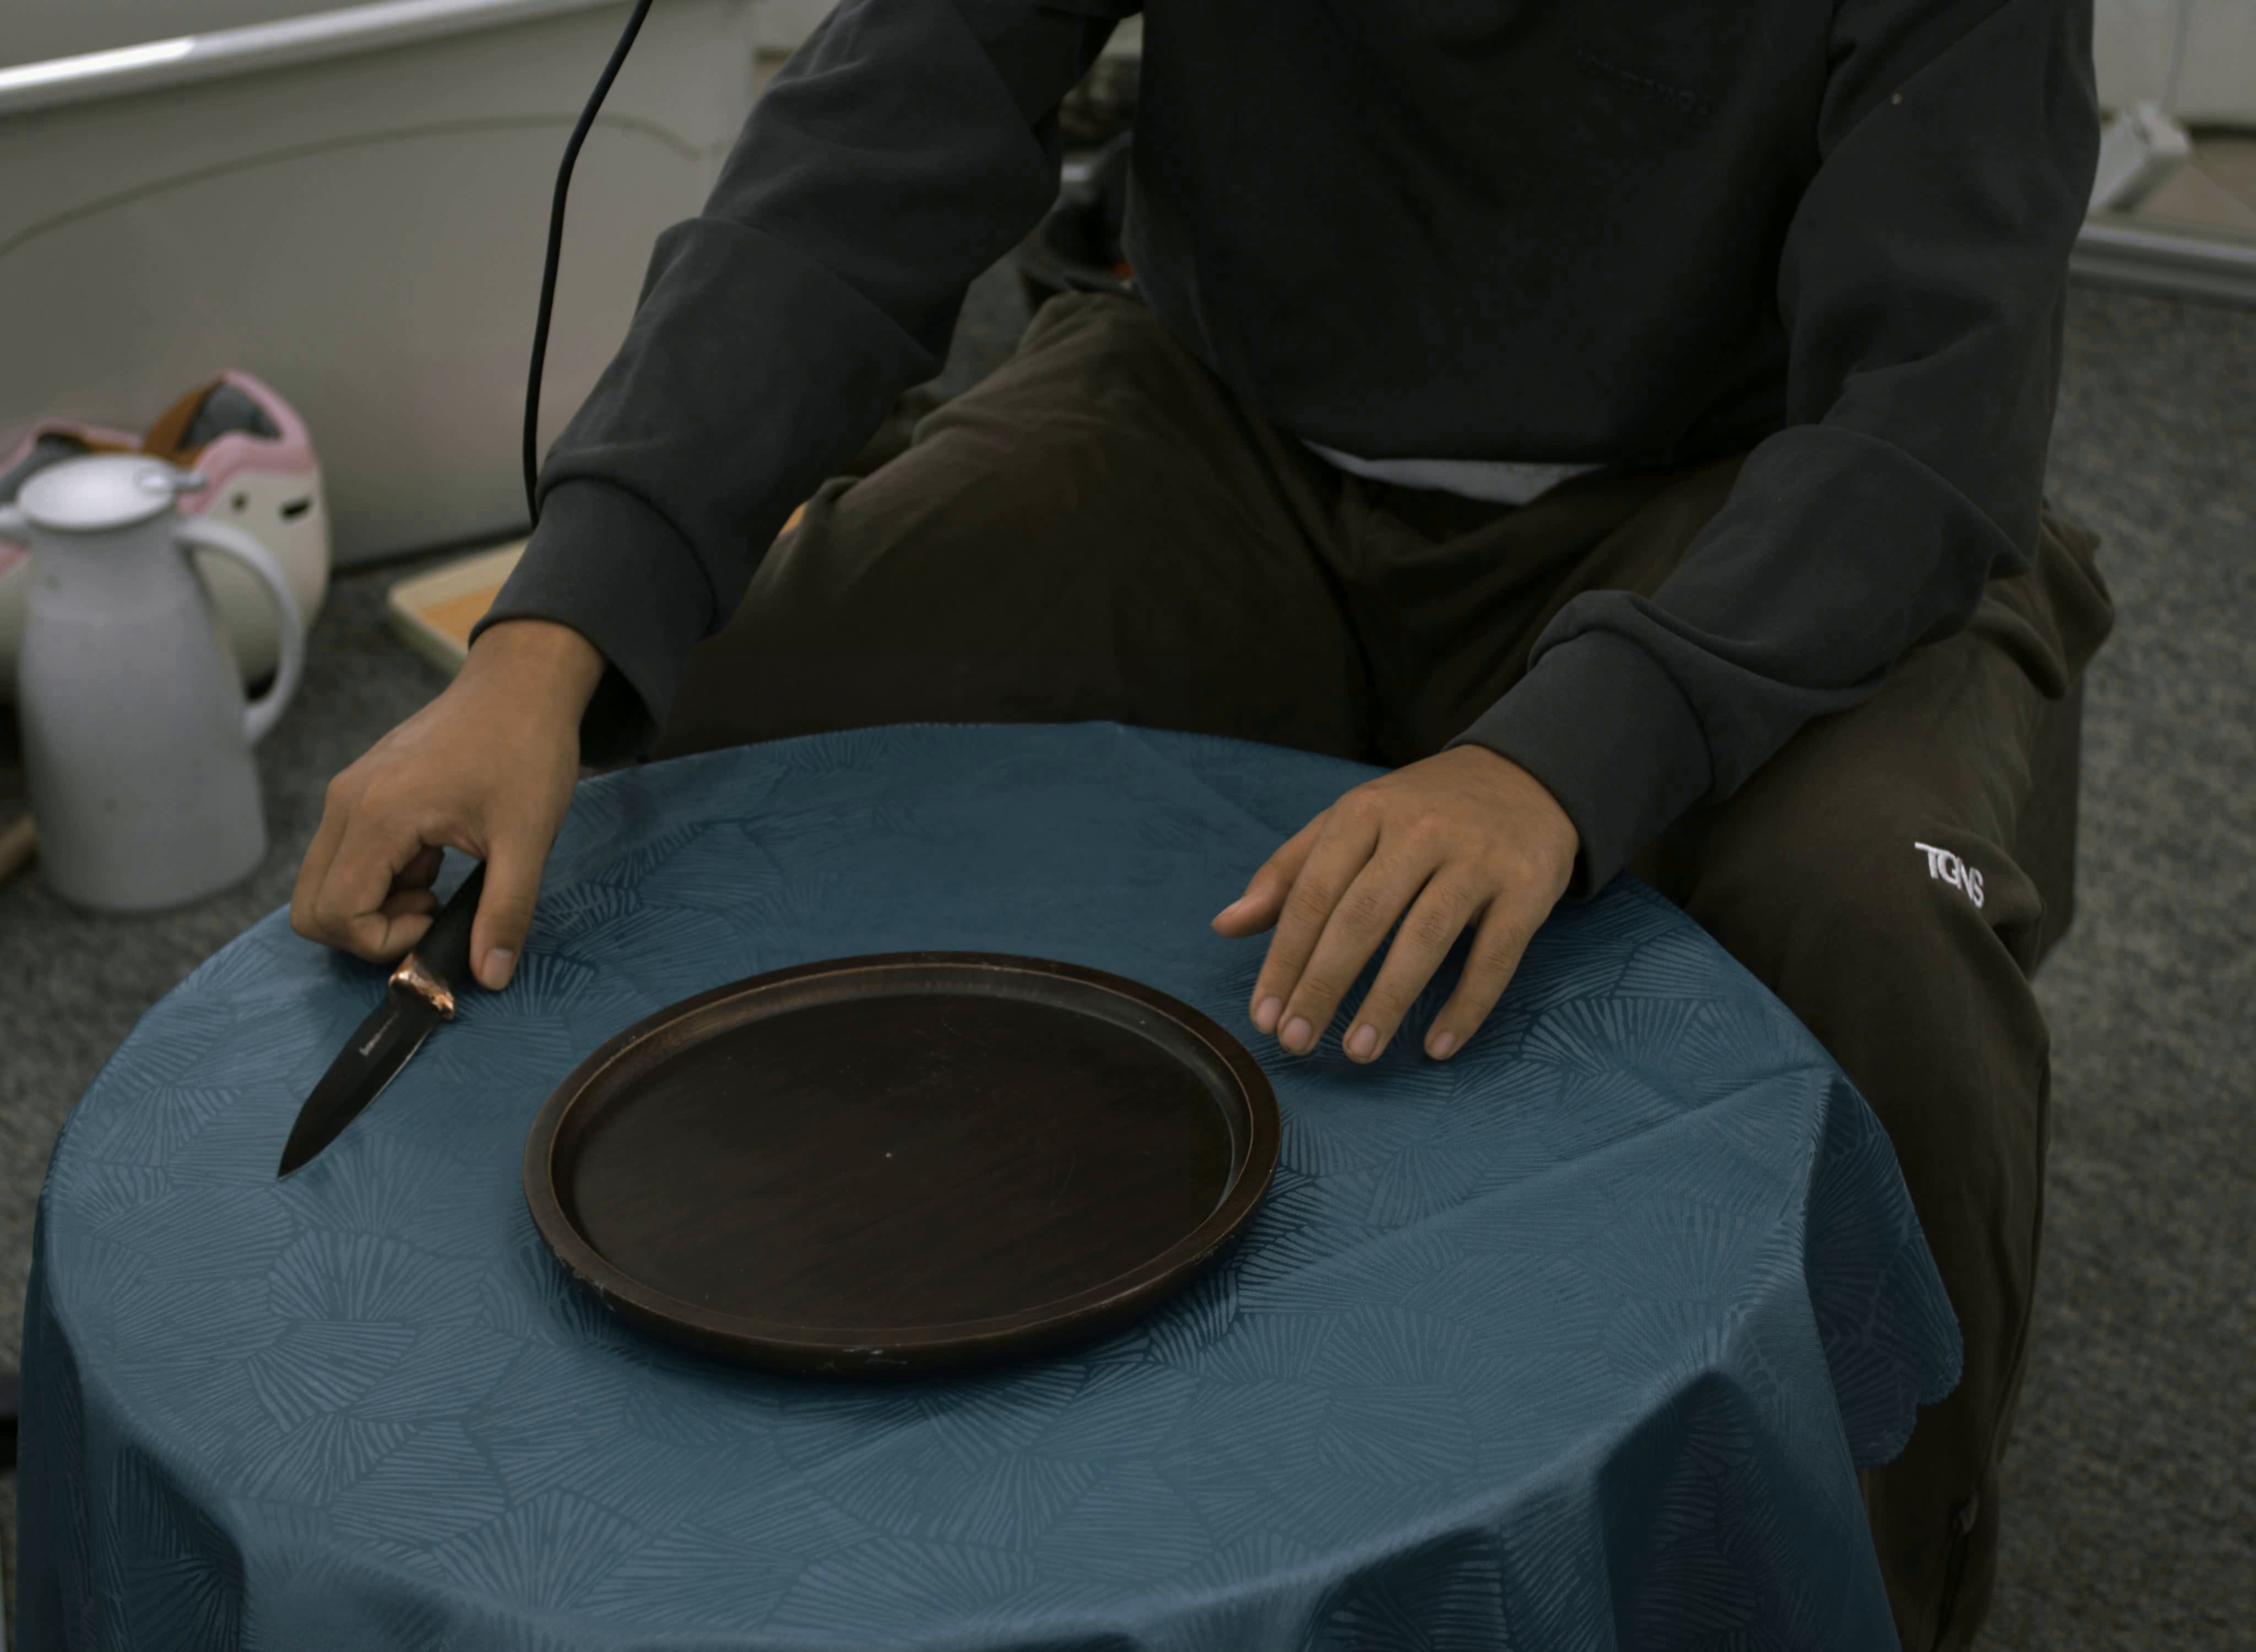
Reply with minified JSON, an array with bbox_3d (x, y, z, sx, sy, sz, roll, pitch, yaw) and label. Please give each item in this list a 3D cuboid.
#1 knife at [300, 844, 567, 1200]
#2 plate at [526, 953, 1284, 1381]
[{"bbox_3d":[-0.247,0.067,1.978,0.026,0.017,0.229,24,35,5],"label":"knife"},{"bbox_3d":[-0.074,0.112,1.866,0.253,0.029,0.258,-3,26,2],"label":"plate"}]
